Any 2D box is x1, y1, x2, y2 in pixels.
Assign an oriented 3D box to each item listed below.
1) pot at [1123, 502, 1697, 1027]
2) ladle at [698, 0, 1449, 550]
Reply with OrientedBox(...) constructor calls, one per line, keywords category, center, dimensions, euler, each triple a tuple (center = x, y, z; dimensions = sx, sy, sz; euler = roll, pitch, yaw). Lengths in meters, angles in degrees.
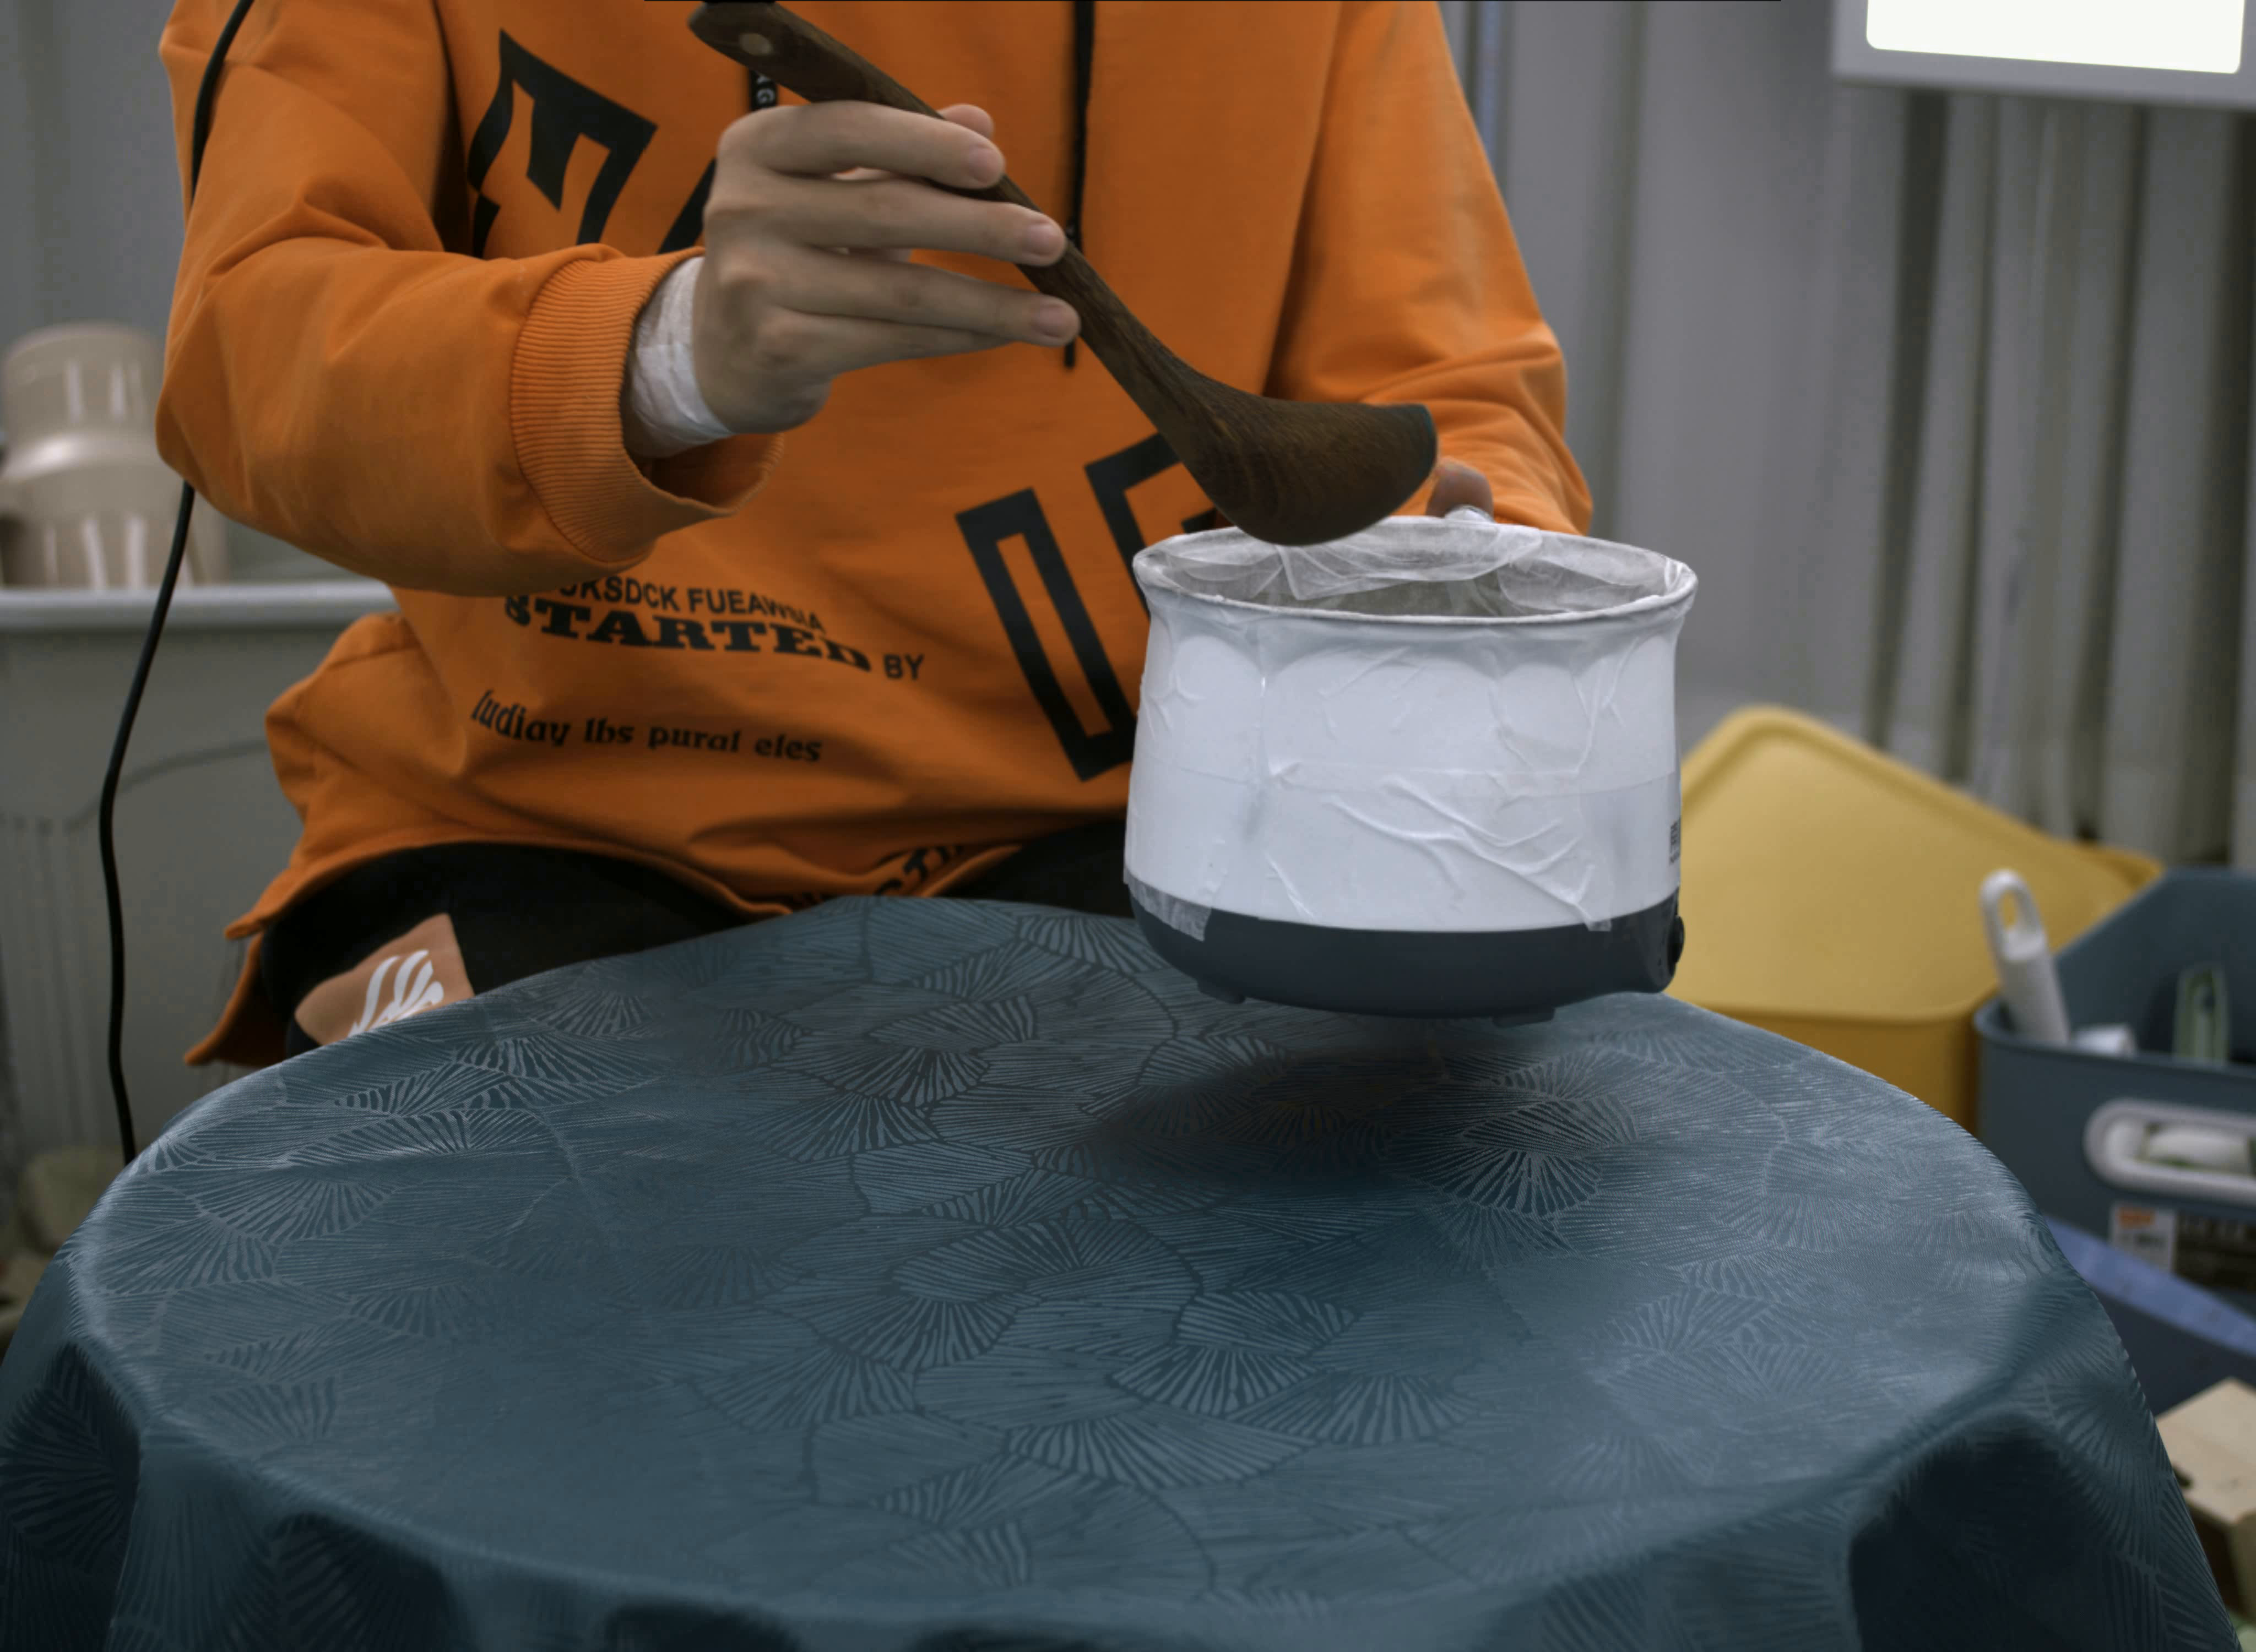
OrientedBox(category="pot", center=(0.093, -0.025, 1.686), dimensions=(0.177, 0.137, 0.233), euler=(5, 13, 11))
OrientedBox(category="ladle", center=(-0.014, -0.184, 1.632), dimensions=(0.076, 0.276, 0.071), euler=(-37, 18, 39))
